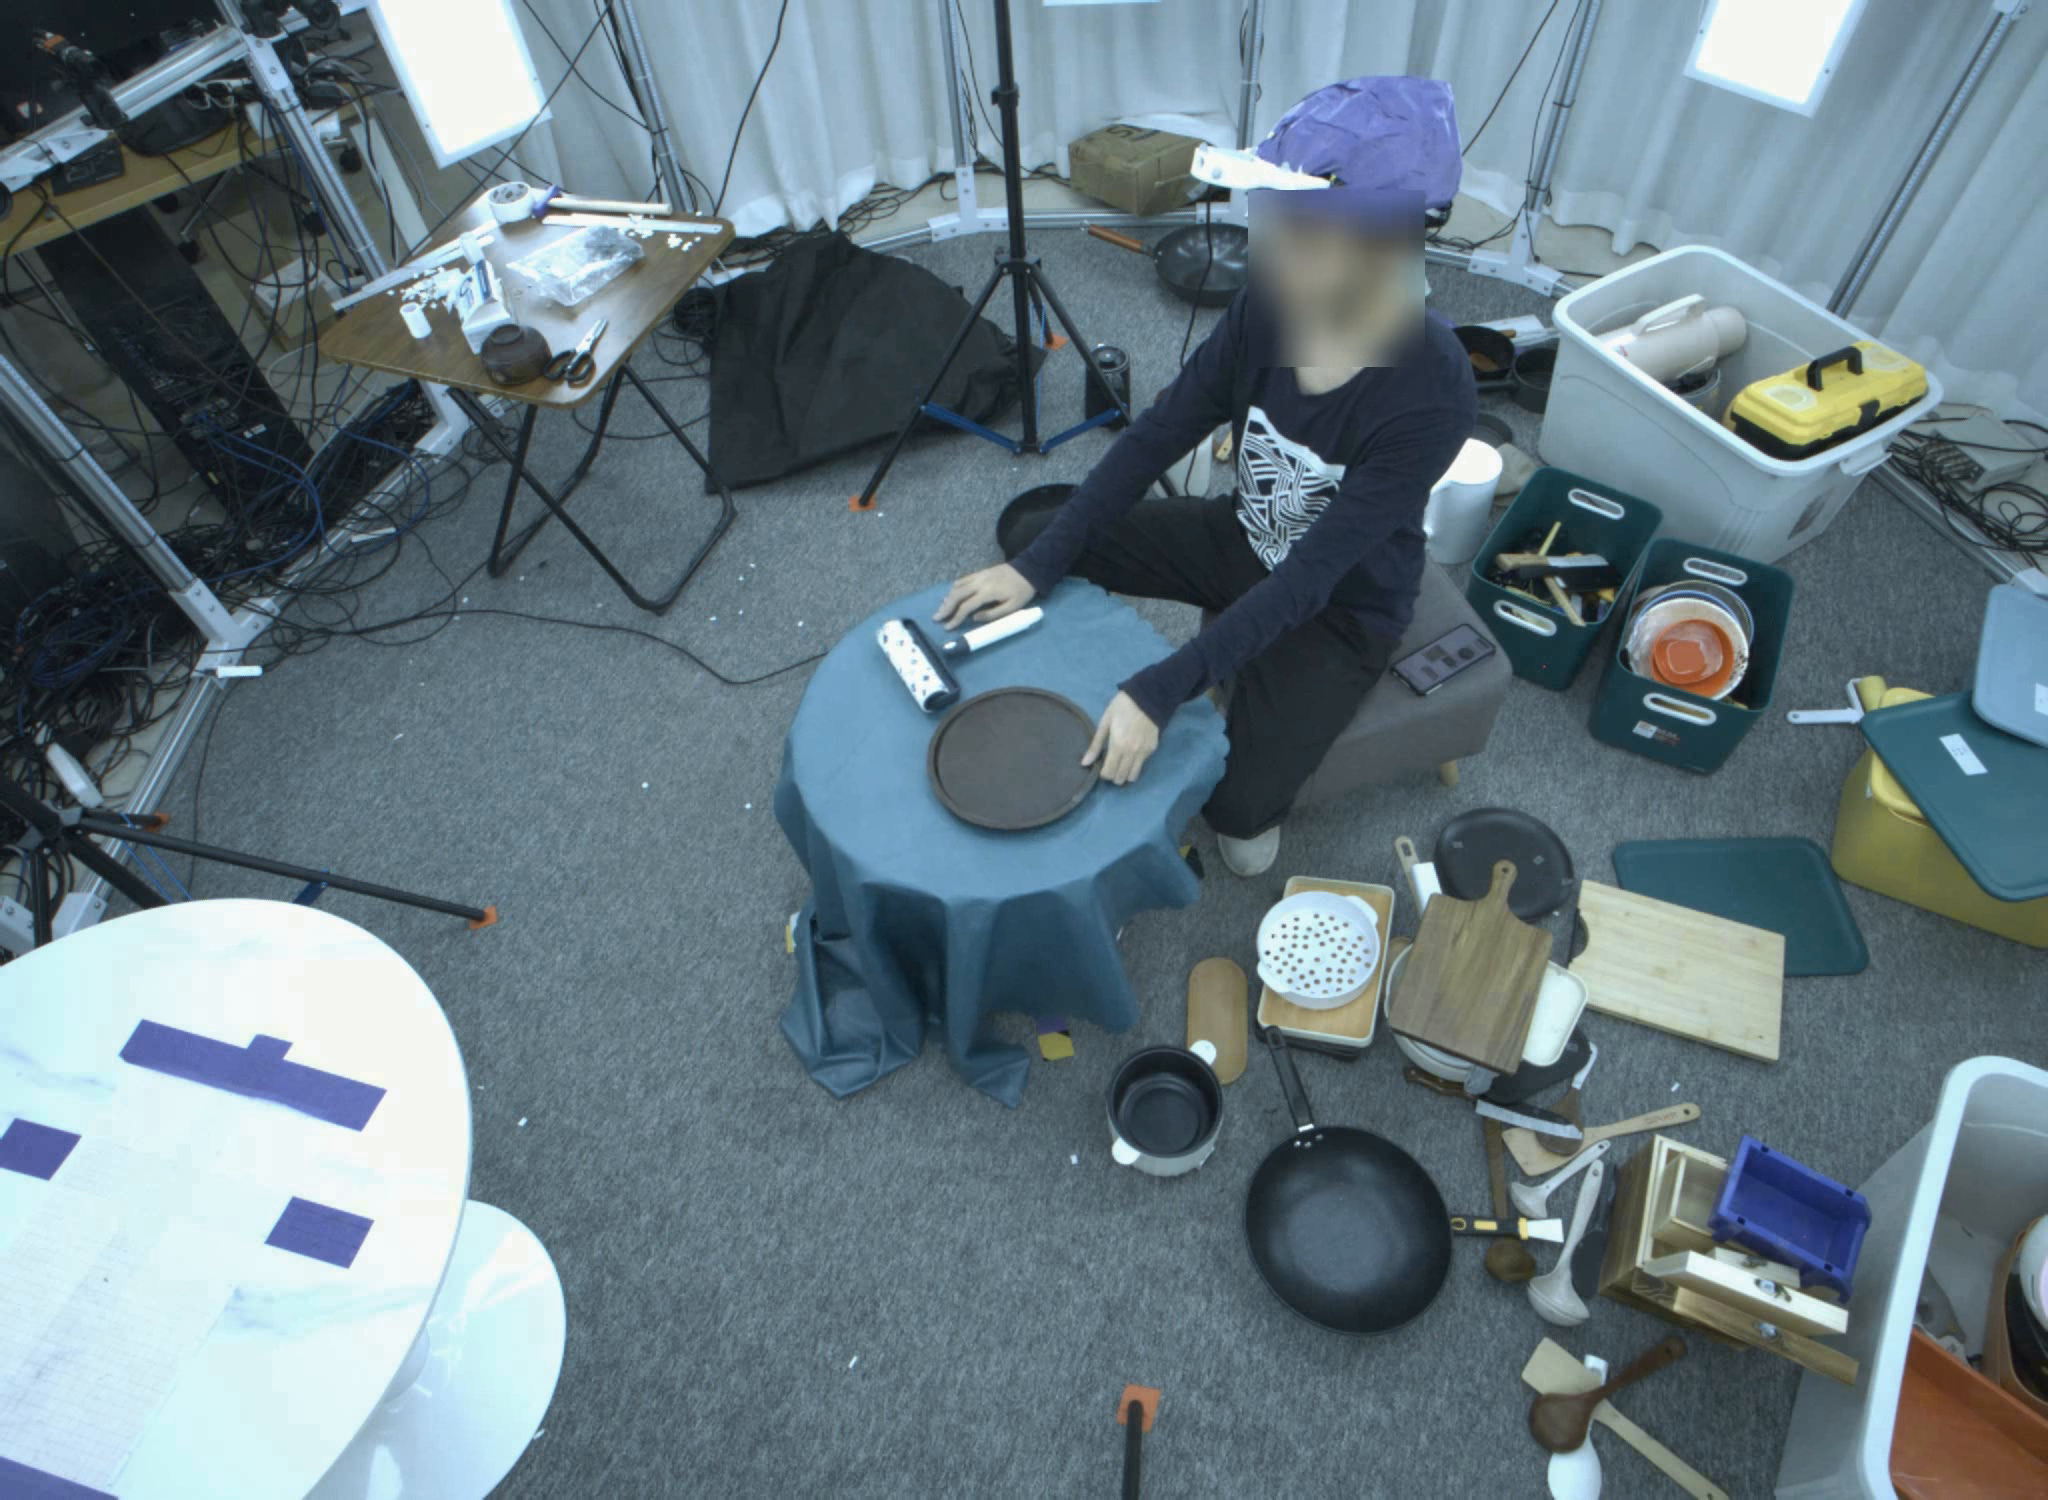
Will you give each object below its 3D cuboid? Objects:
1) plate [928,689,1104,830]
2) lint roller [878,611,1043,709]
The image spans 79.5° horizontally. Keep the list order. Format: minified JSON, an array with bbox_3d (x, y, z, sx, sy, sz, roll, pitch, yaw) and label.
[{"bbox_3d":[-0.012,0.012,1.772,0.255,0.029,0.252,1,53,0],"label":"plate"},{"bbox_3d":[-0.082,-0.171,1.894,0.249,0.051,0.173,-25,56,-18],"label":"lint roller"}]
